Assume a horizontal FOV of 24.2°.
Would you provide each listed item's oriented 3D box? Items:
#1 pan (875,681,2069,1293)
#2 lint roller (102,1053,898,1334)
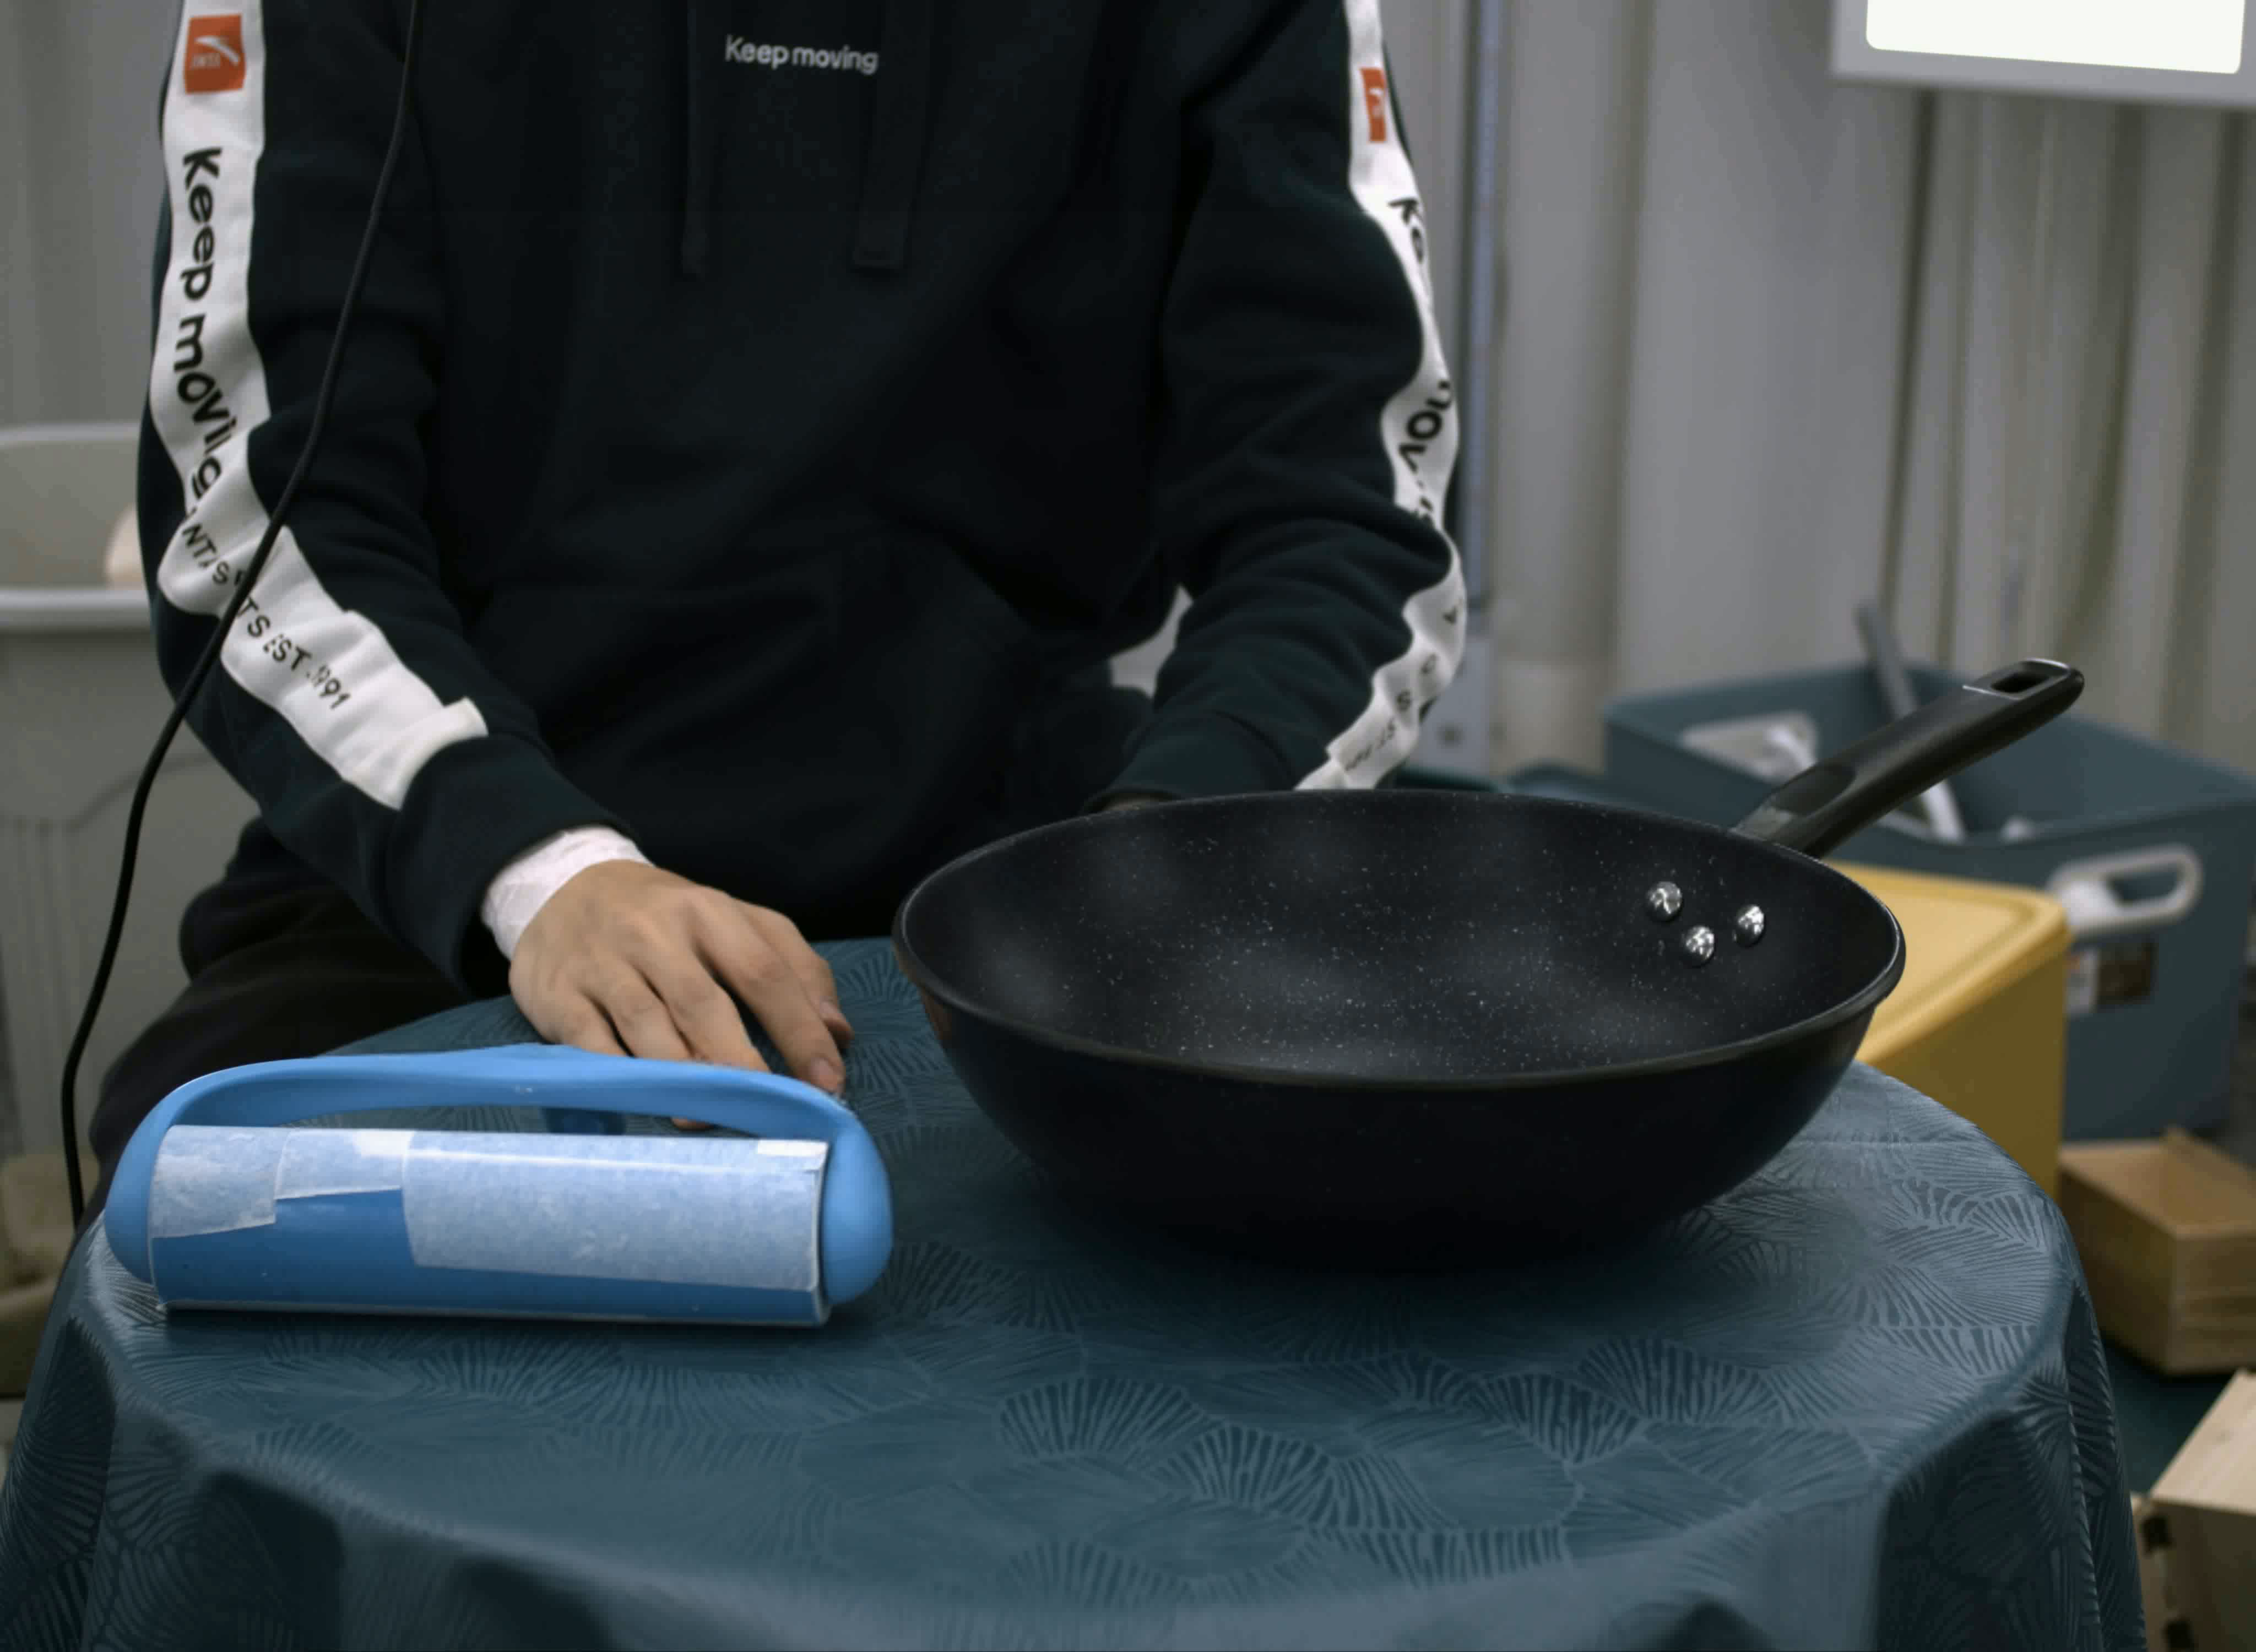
[{"bbox_3d":[0.138,0.046,1.662,0.479,0.112,0.306,-14,23,-42],"label":"pan"},{"bbox_3d":[-0.178,0.098,1.560,0.228,0.068,0.179,-2,18,1],"label":"lint roller"}]
